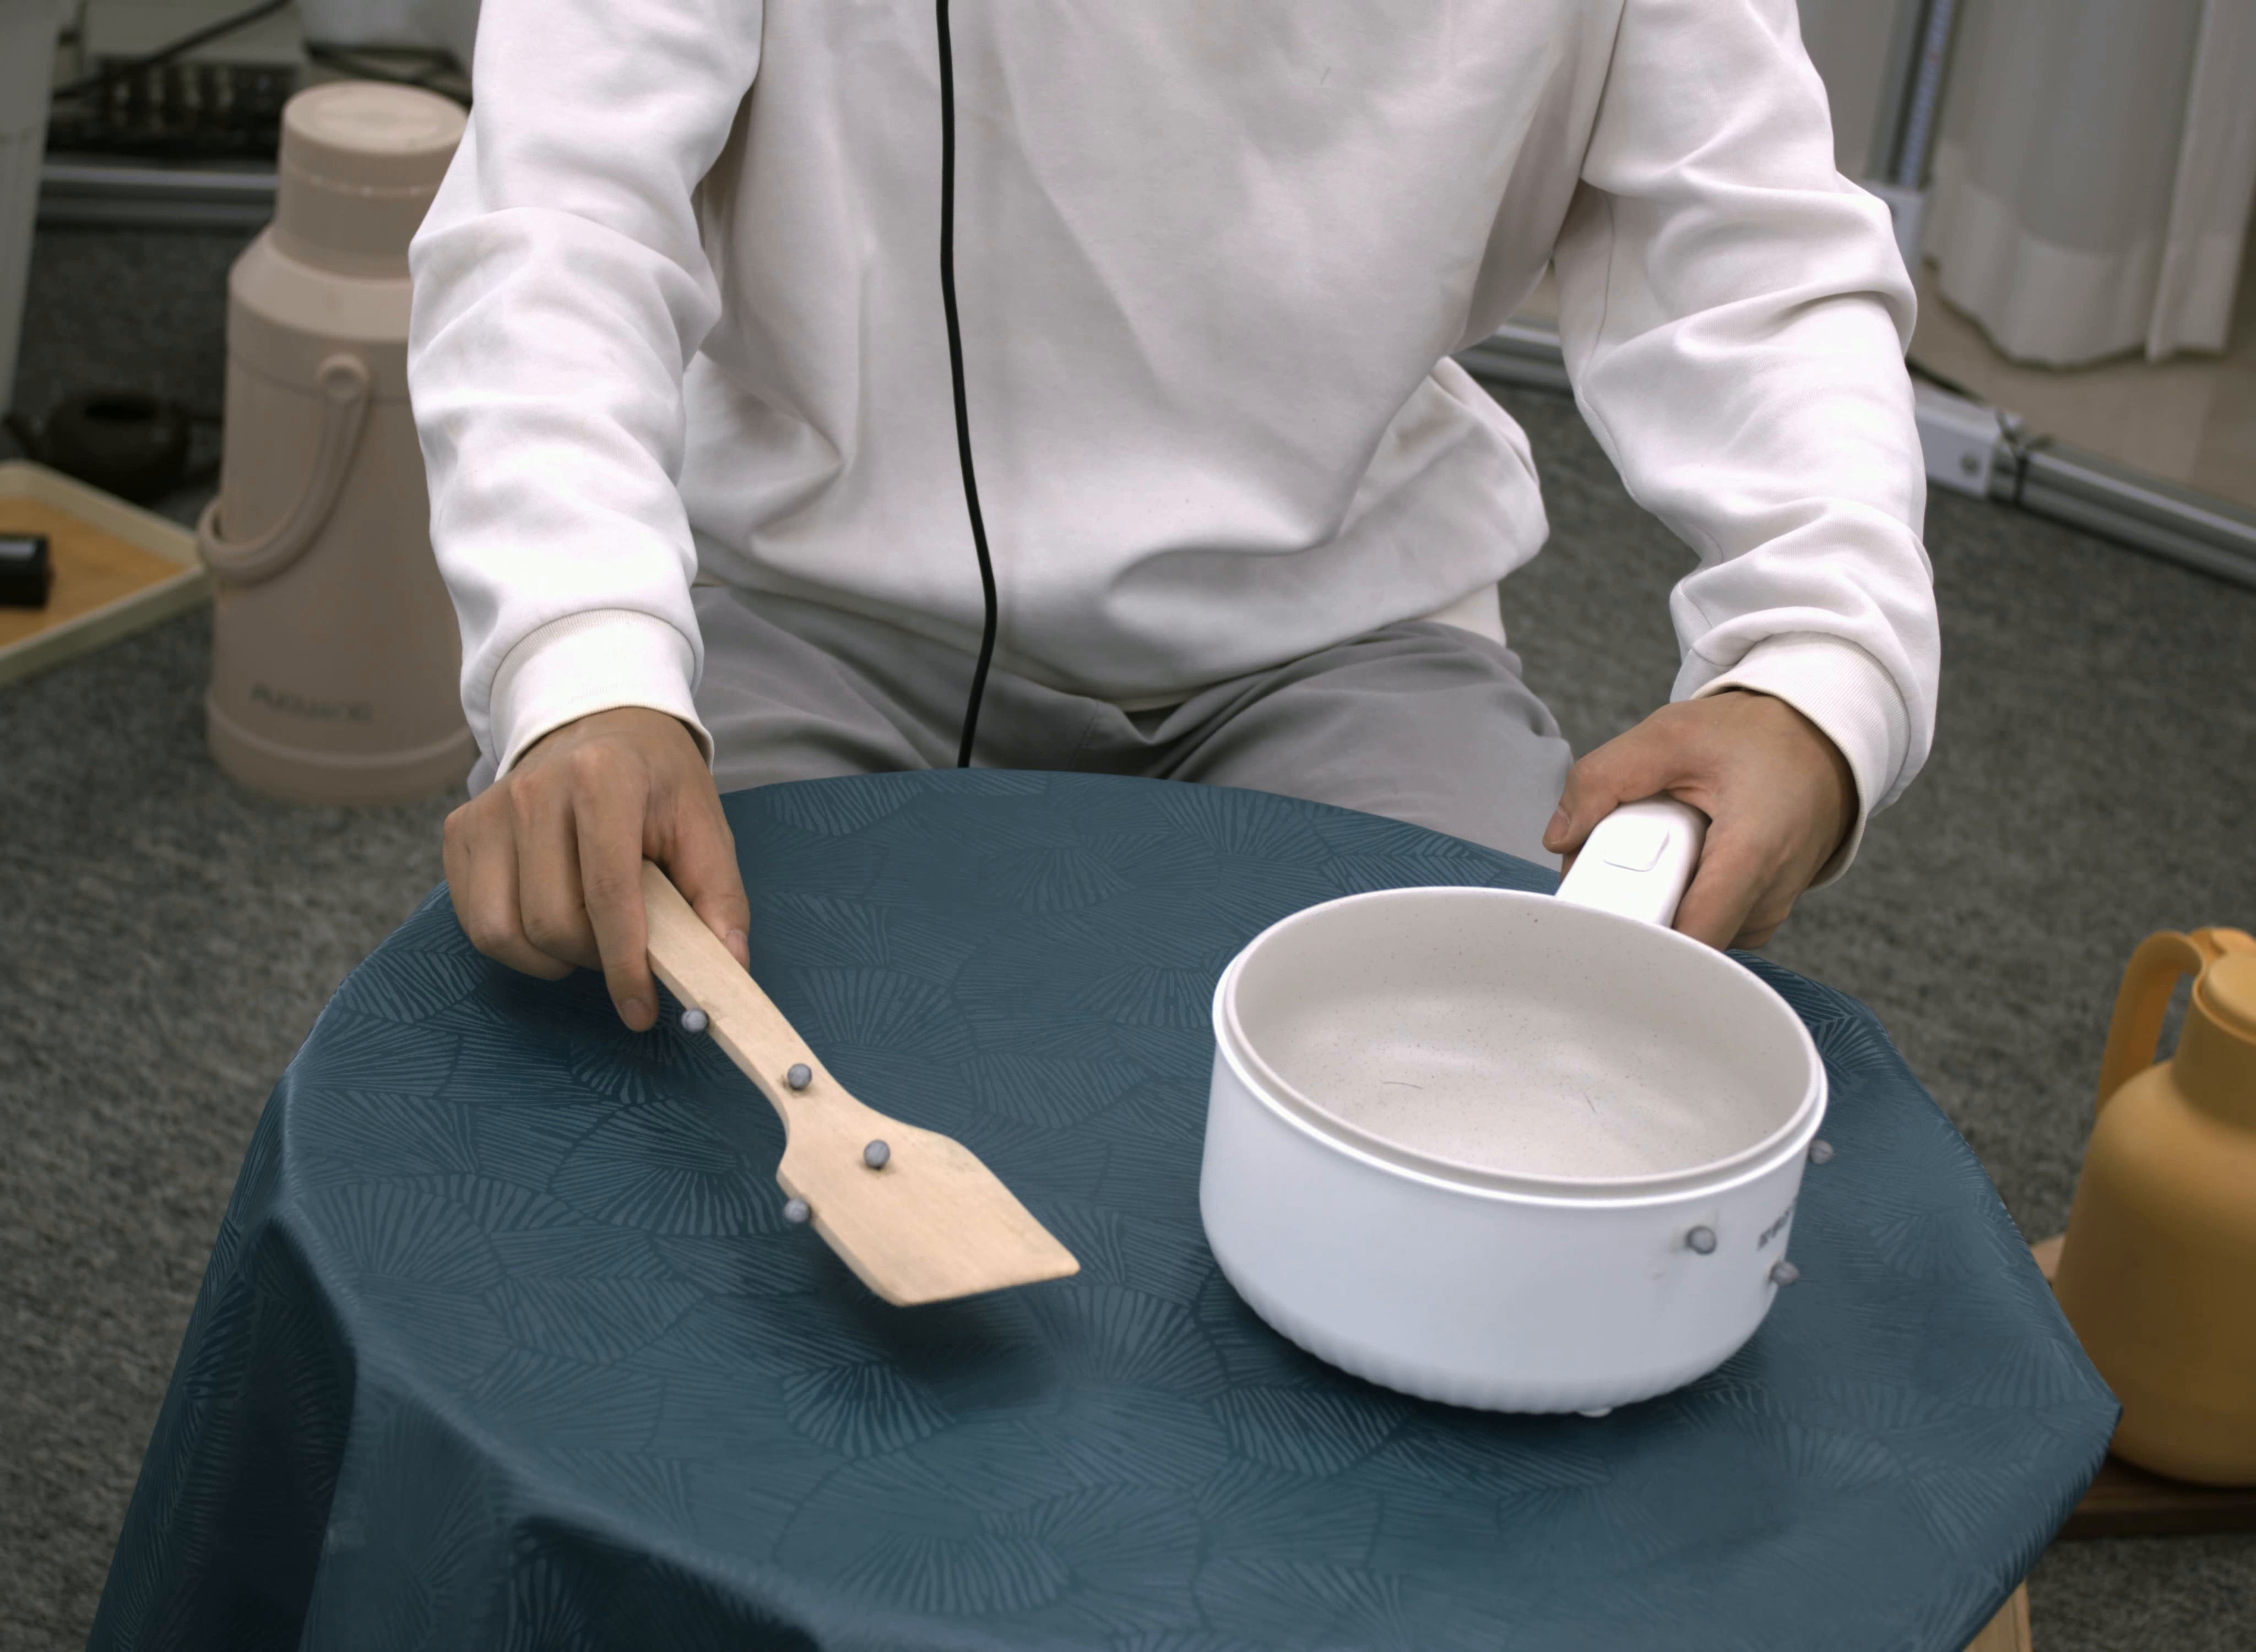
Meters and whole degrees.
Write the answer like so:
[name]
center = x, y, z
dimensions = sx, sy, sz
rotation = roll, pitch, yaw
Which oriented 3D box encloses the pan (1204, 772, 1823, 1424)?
[pan]
center = 0.147, 0.088, 1.816
dimensions = 0.201, 0.102, 0.355
rotation = 10, 24, 15
